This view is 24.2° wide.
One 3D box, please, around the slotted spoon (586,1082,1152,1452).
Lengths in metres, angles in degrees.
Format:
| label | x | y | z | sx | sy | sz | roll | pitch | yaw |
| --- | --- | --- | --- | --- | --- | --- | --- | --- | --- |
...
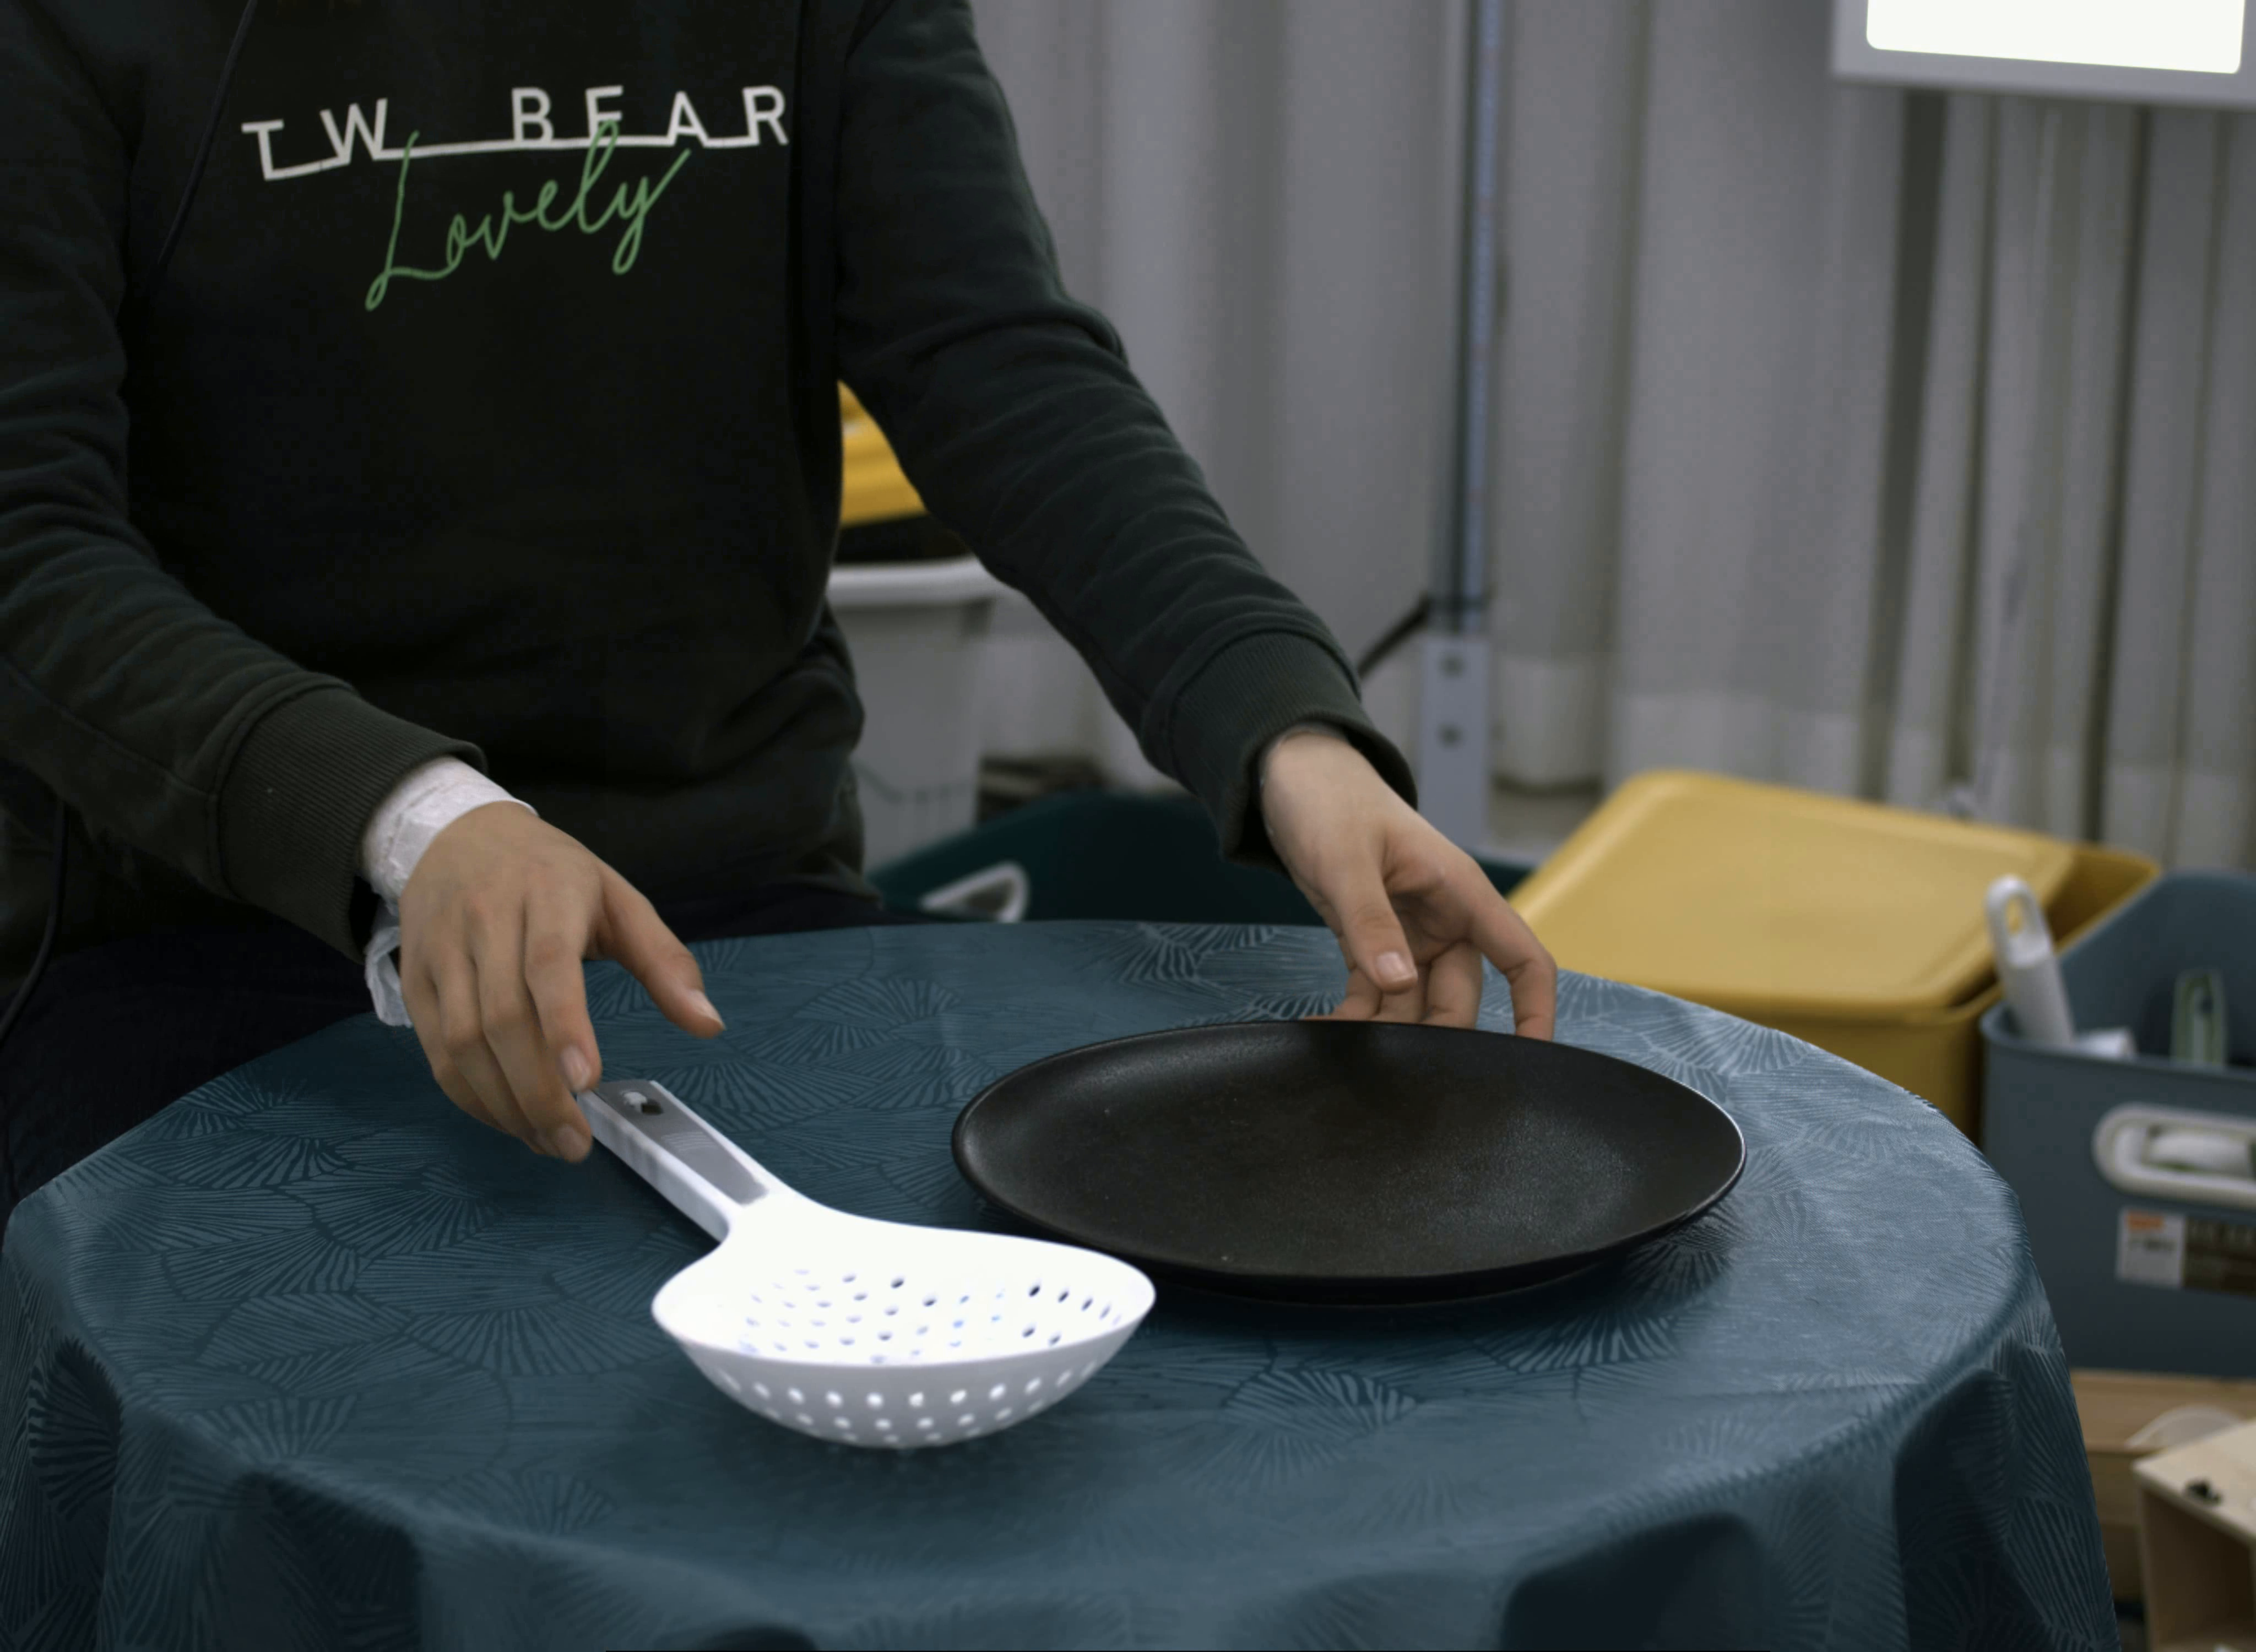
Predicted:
| label | x | y | z | sx | sy | sz | roll | pitch | yaw |
| --- | --- | --- | --- | --- | --- | --- | --- | --- | --- |
| slotted spoon | -0.100 | 0.118 | 1.521 | 0.136 | 0.046 | 0.346 | -3 | 15 | -21 |

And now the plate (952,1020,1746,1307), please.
| label | x | y | z | sx | sy | sz | roll | pitch | yaw |
| --- | --- | --- | --- | --- | --- | --- | --- | --- | --- |
| plate | 0.067 | 0.105 | 1.612 | 0.243 | 0.023 | 0.243 | 1 | 16 | 0 |
